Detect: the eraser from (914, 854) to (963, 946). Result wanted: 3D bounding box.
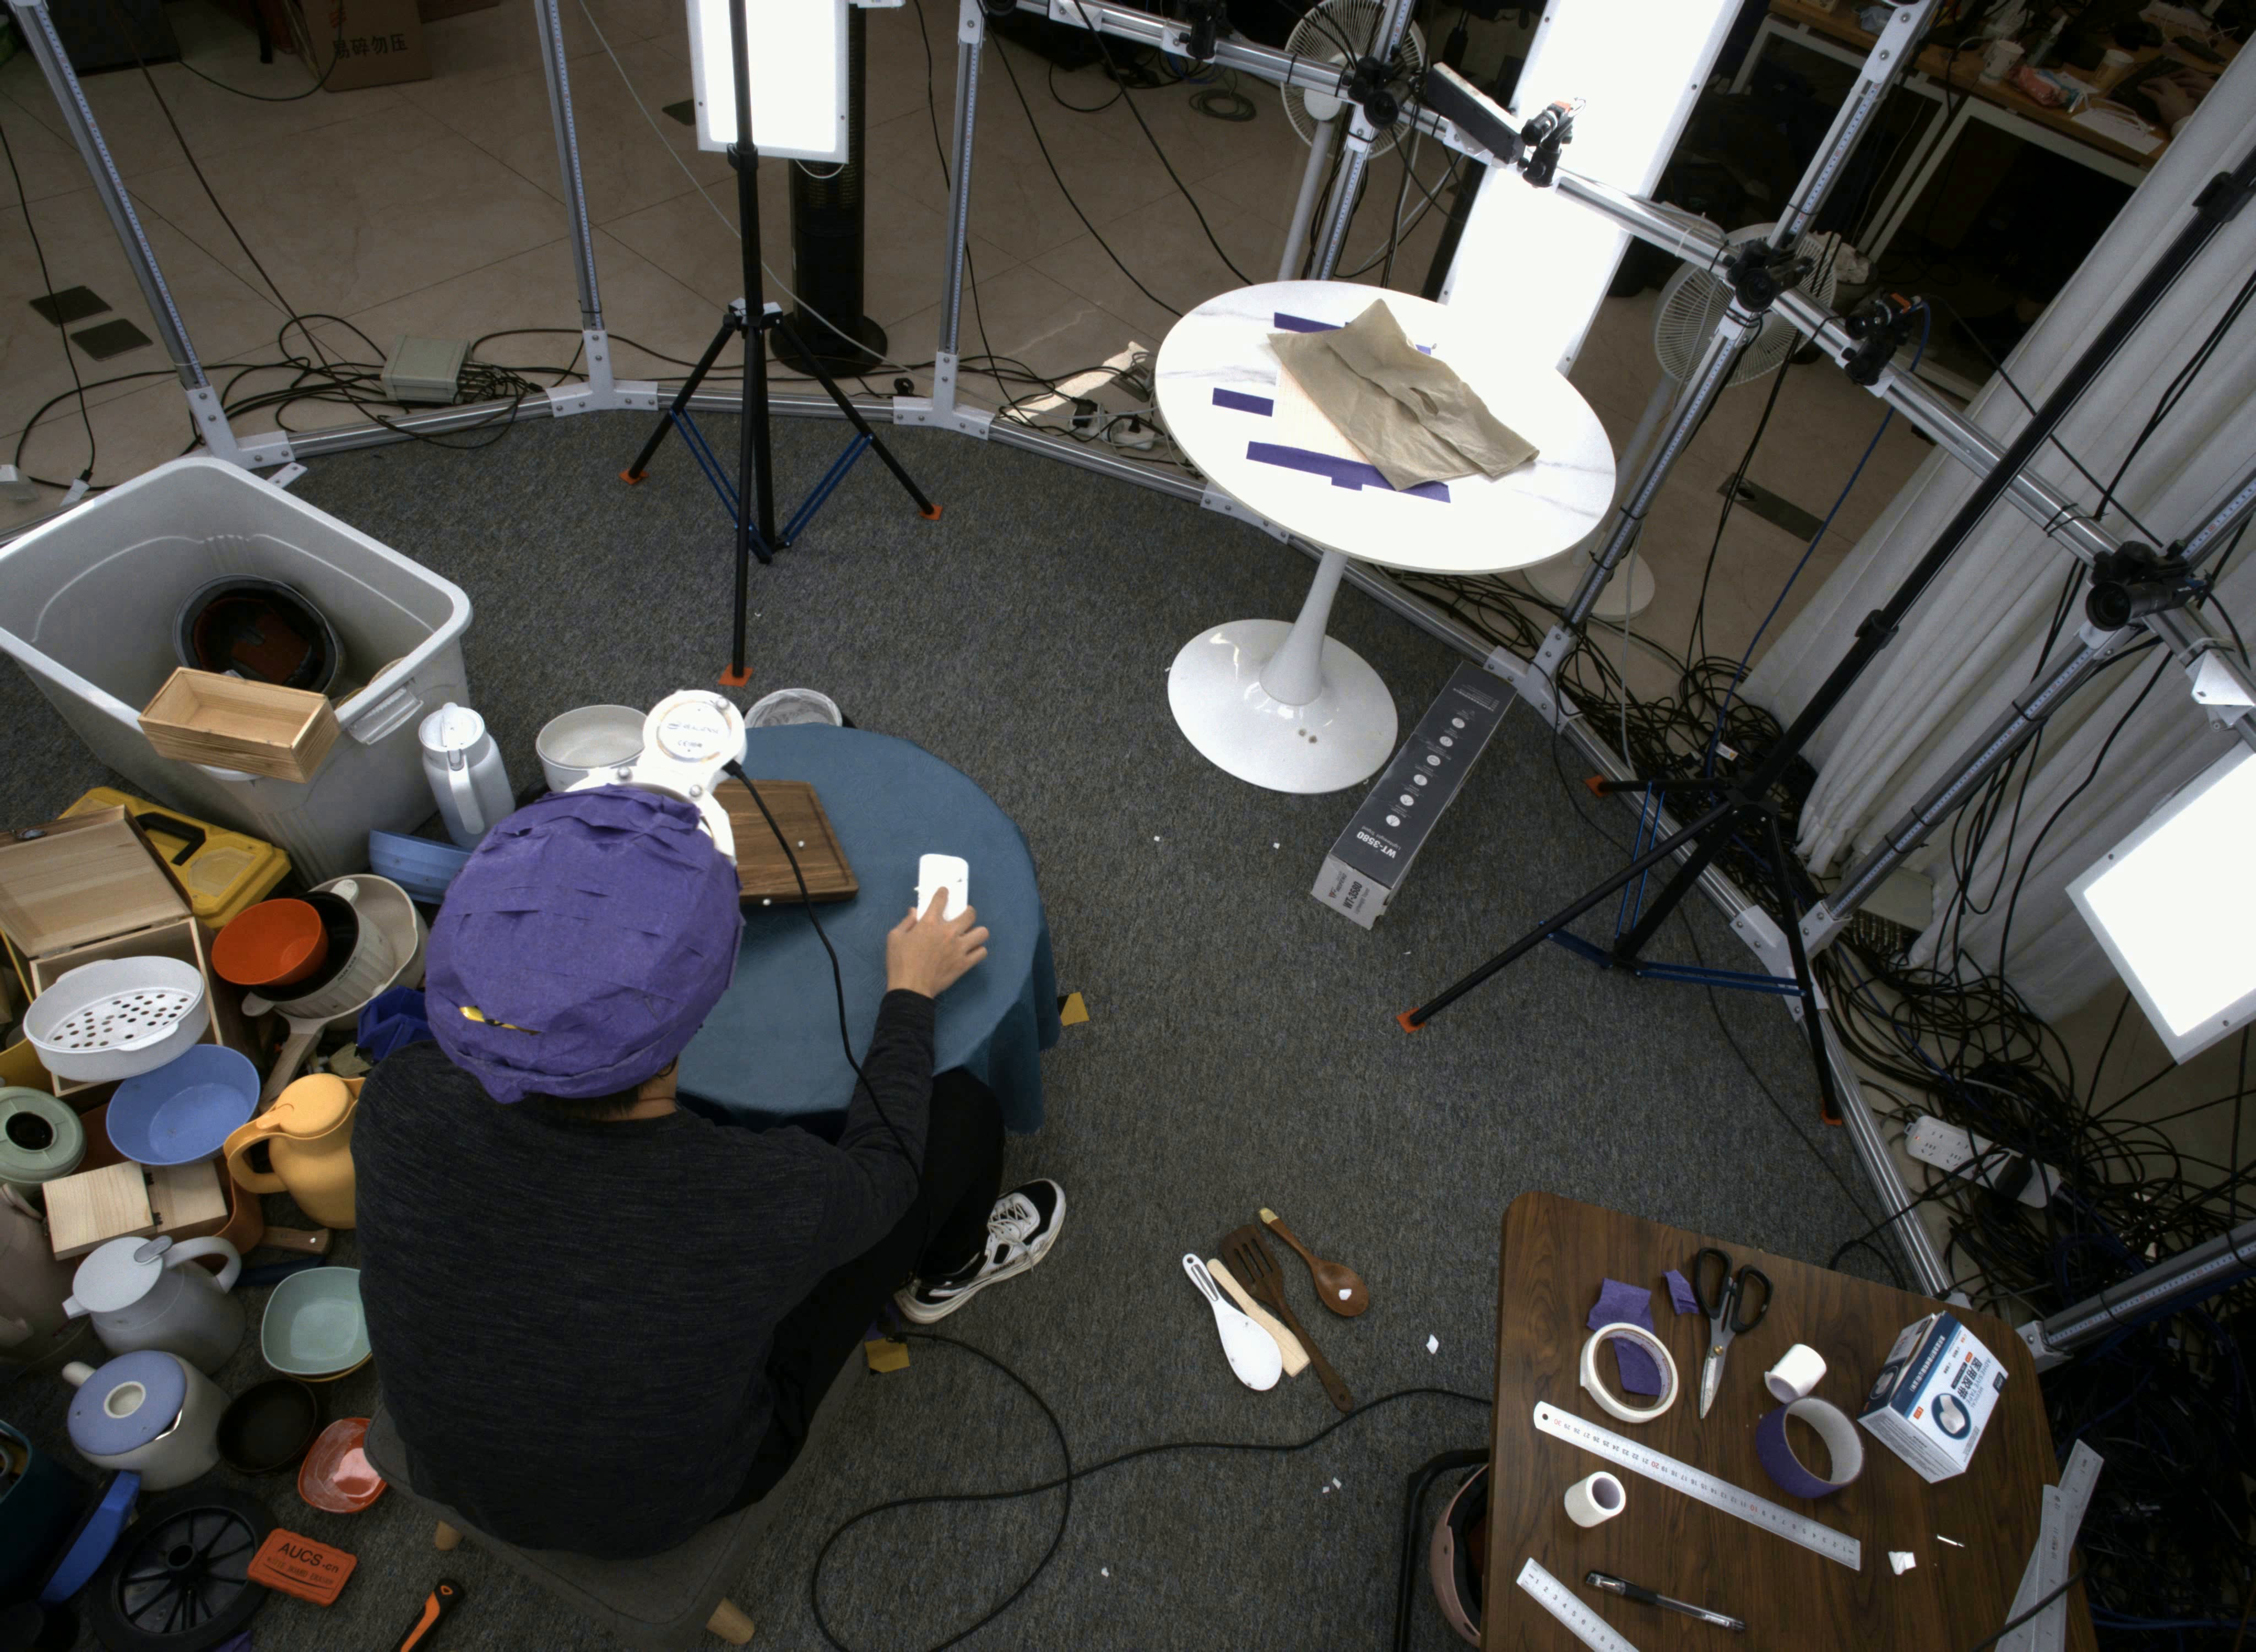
[{"bbox_3d":[-0.243,0.090,1.653,0.064,0.035,0.128,9,48,-16],"label":"eraser"}]

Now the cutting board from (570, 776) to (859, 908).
[{"bbox_3d":[-0.516,0.014,1.580,0.359,0.023,0.196,0,49,-45],"label":"cutting board"}]
